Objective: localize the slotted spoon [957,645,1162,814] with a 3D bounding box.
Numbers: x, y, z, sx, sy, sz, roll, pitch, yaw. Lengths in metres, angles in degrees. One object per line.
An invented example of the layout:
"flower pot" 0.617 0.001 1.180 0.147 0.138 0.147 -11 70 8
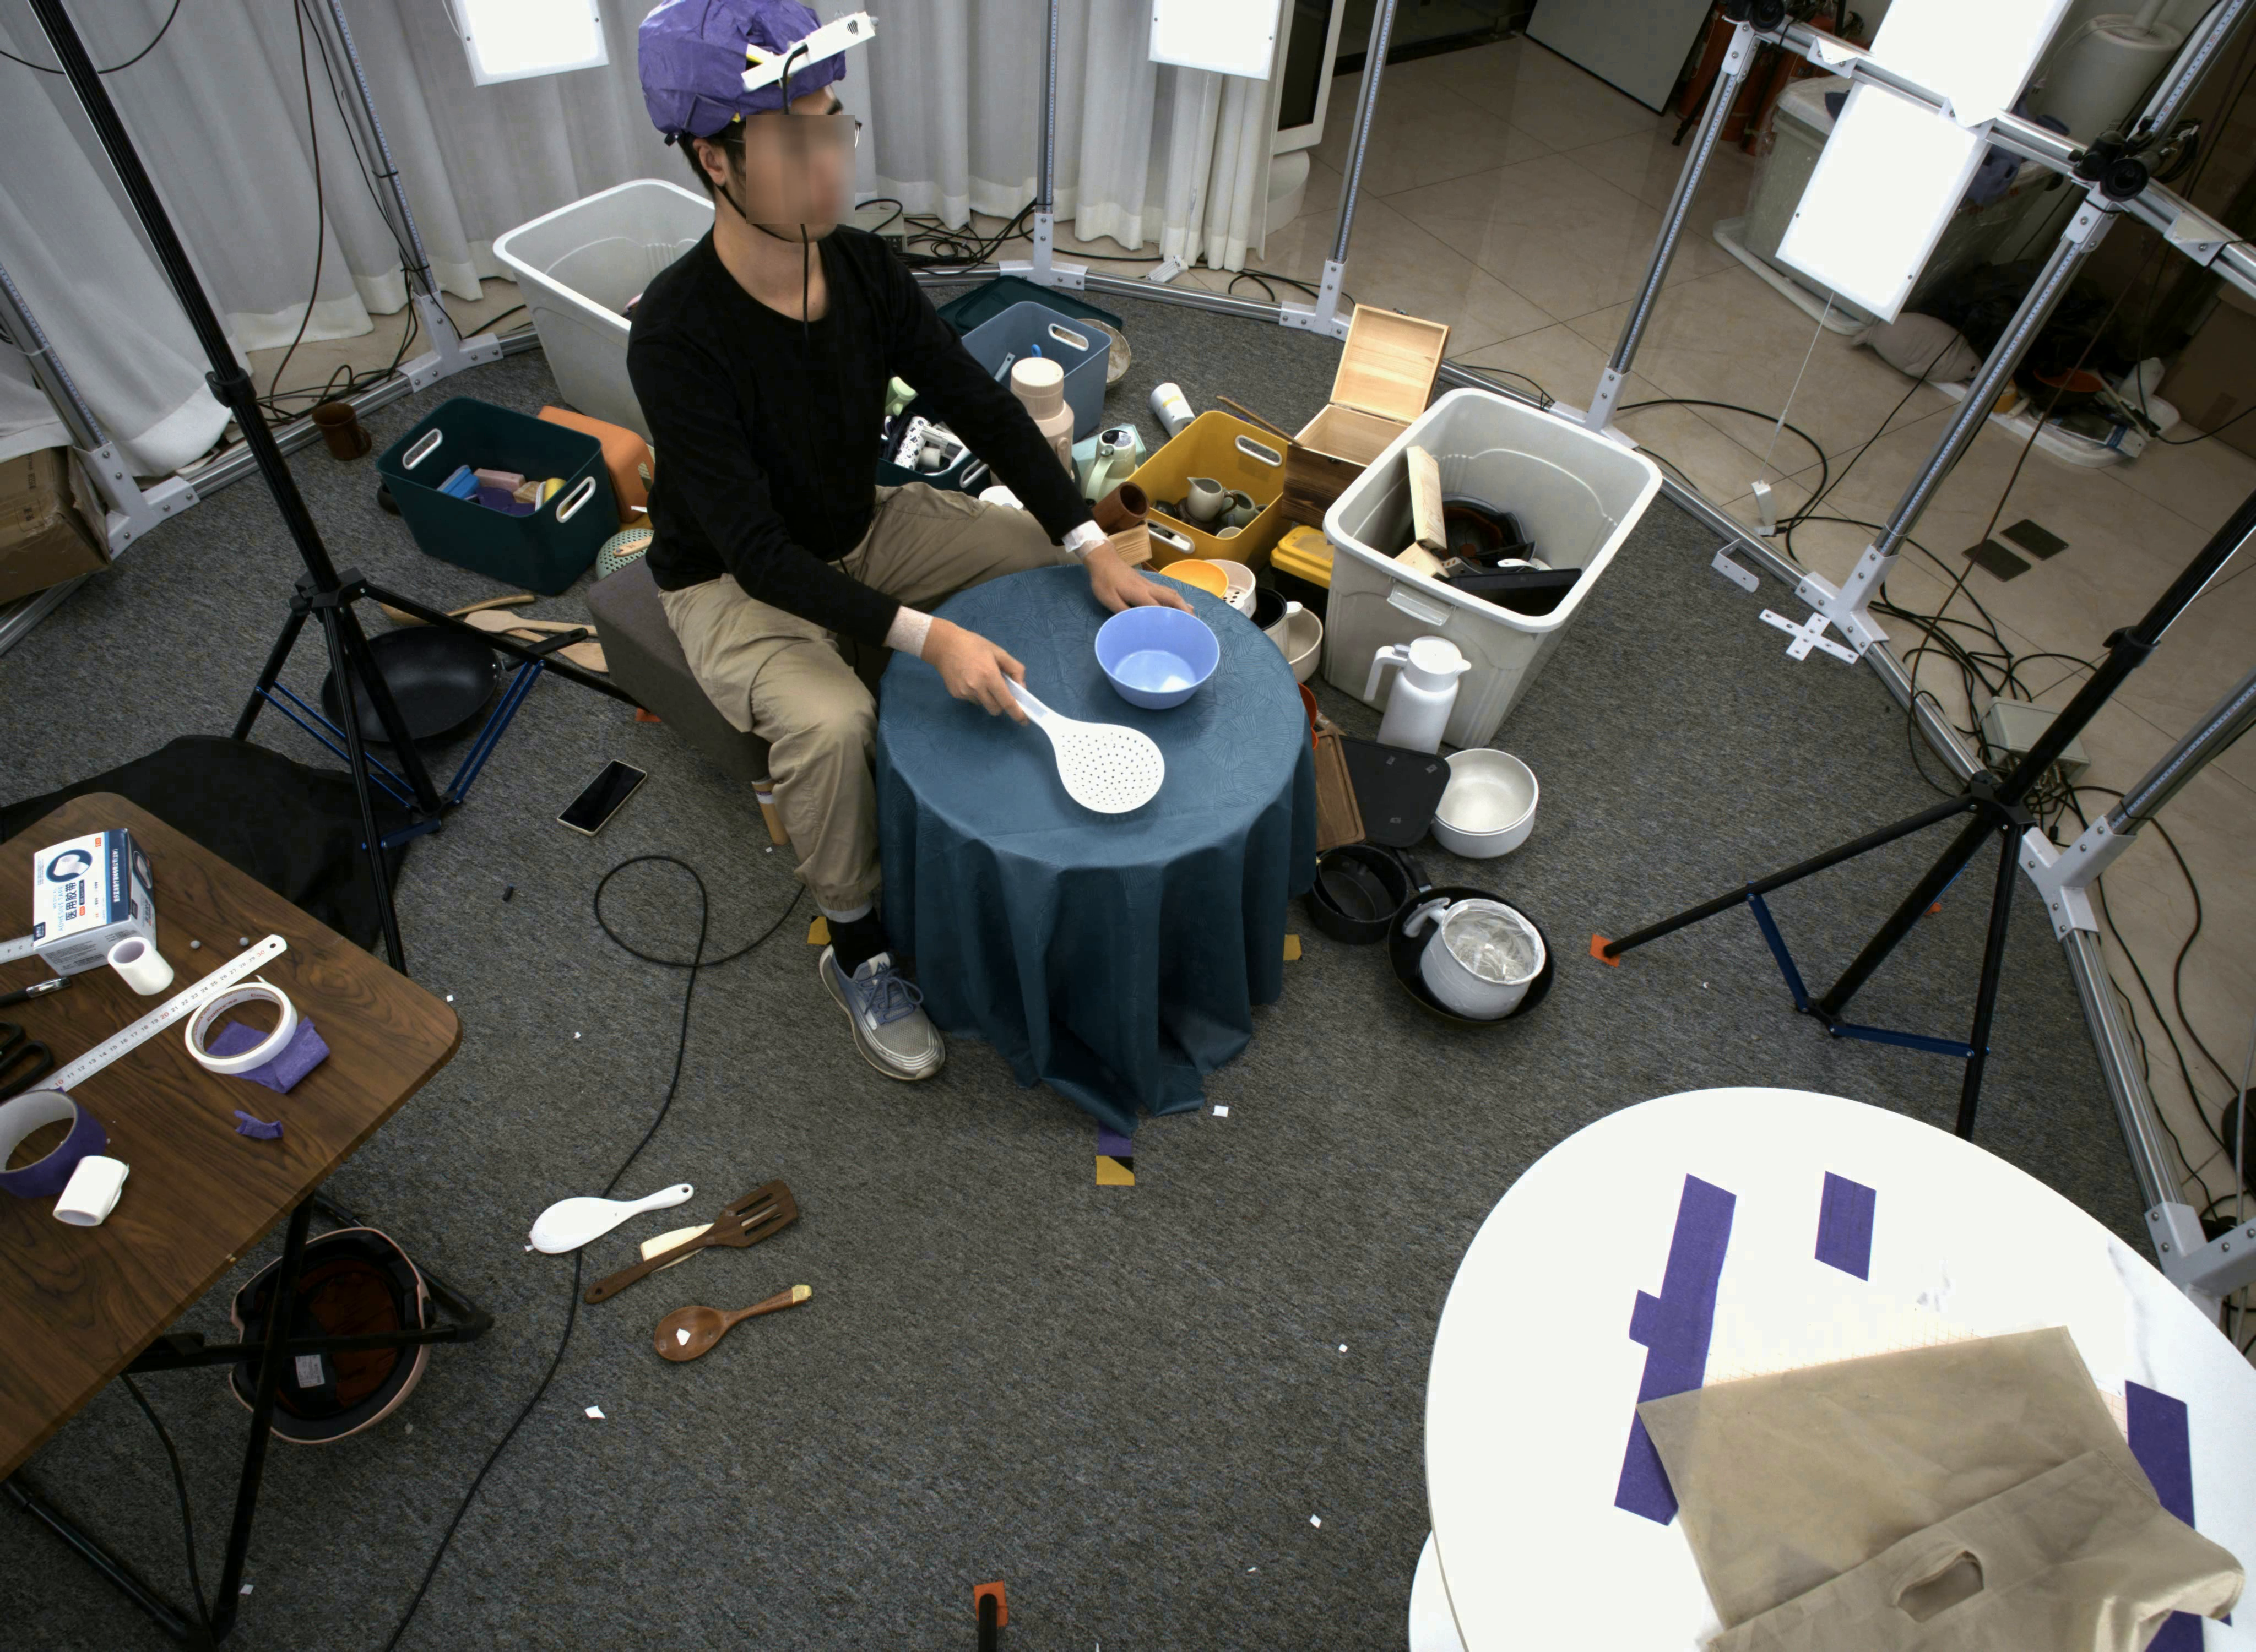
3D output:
"slotted spoon" -0.102 -0.137 1.725 0.353 0.045 0.137 41 67 16

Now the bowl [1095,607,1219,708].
"bowl" 0.039 -0.231 1.828 0.176 0.068 0.180 2 48 -2
